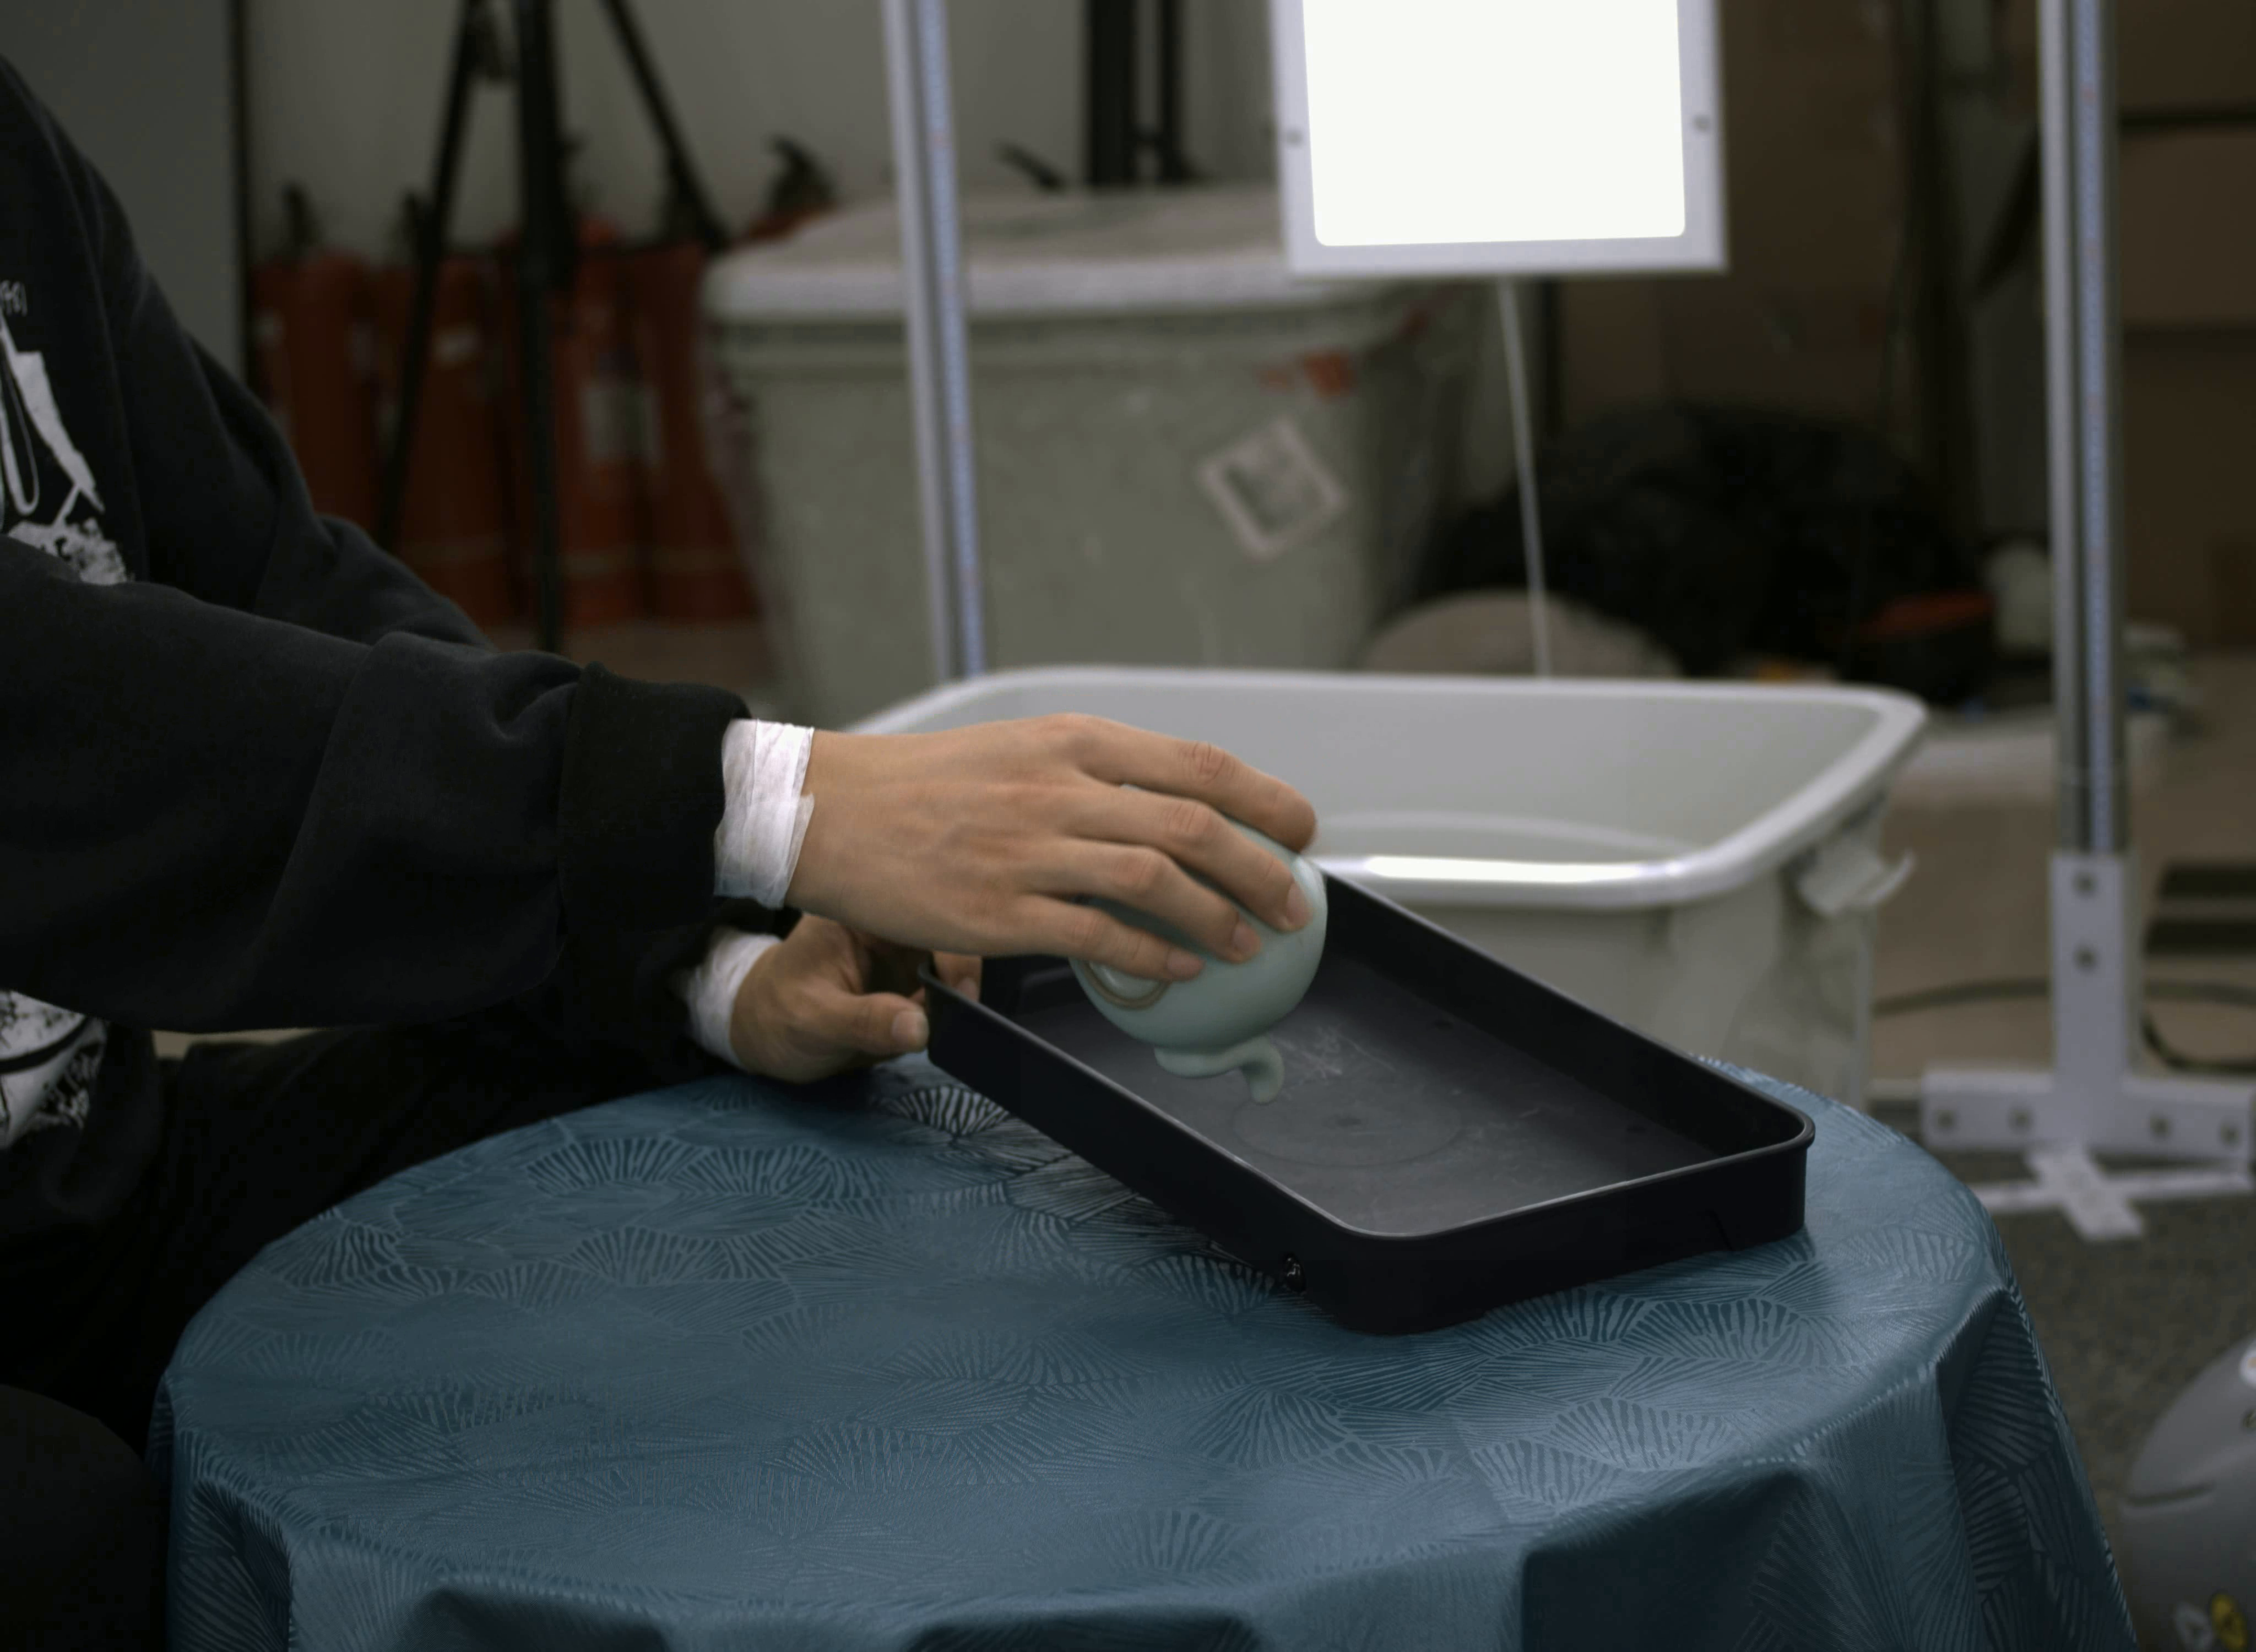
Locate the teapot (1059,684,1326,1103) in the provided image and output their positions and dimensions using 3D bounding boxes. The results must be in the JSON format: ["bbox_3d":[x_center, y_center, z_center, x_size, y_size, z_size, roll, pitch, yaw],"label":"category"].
[{"bbox_3d":[0.021,0.029,1.763,0.090,0.144,0.073,5,18,41],"label":"teapot"}]

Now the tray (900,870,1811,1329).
[{"bbox_3d":[0.073,0.088,1.889,0.180,0.037,0.323,-13,22,-29],"label":"tray"}]
